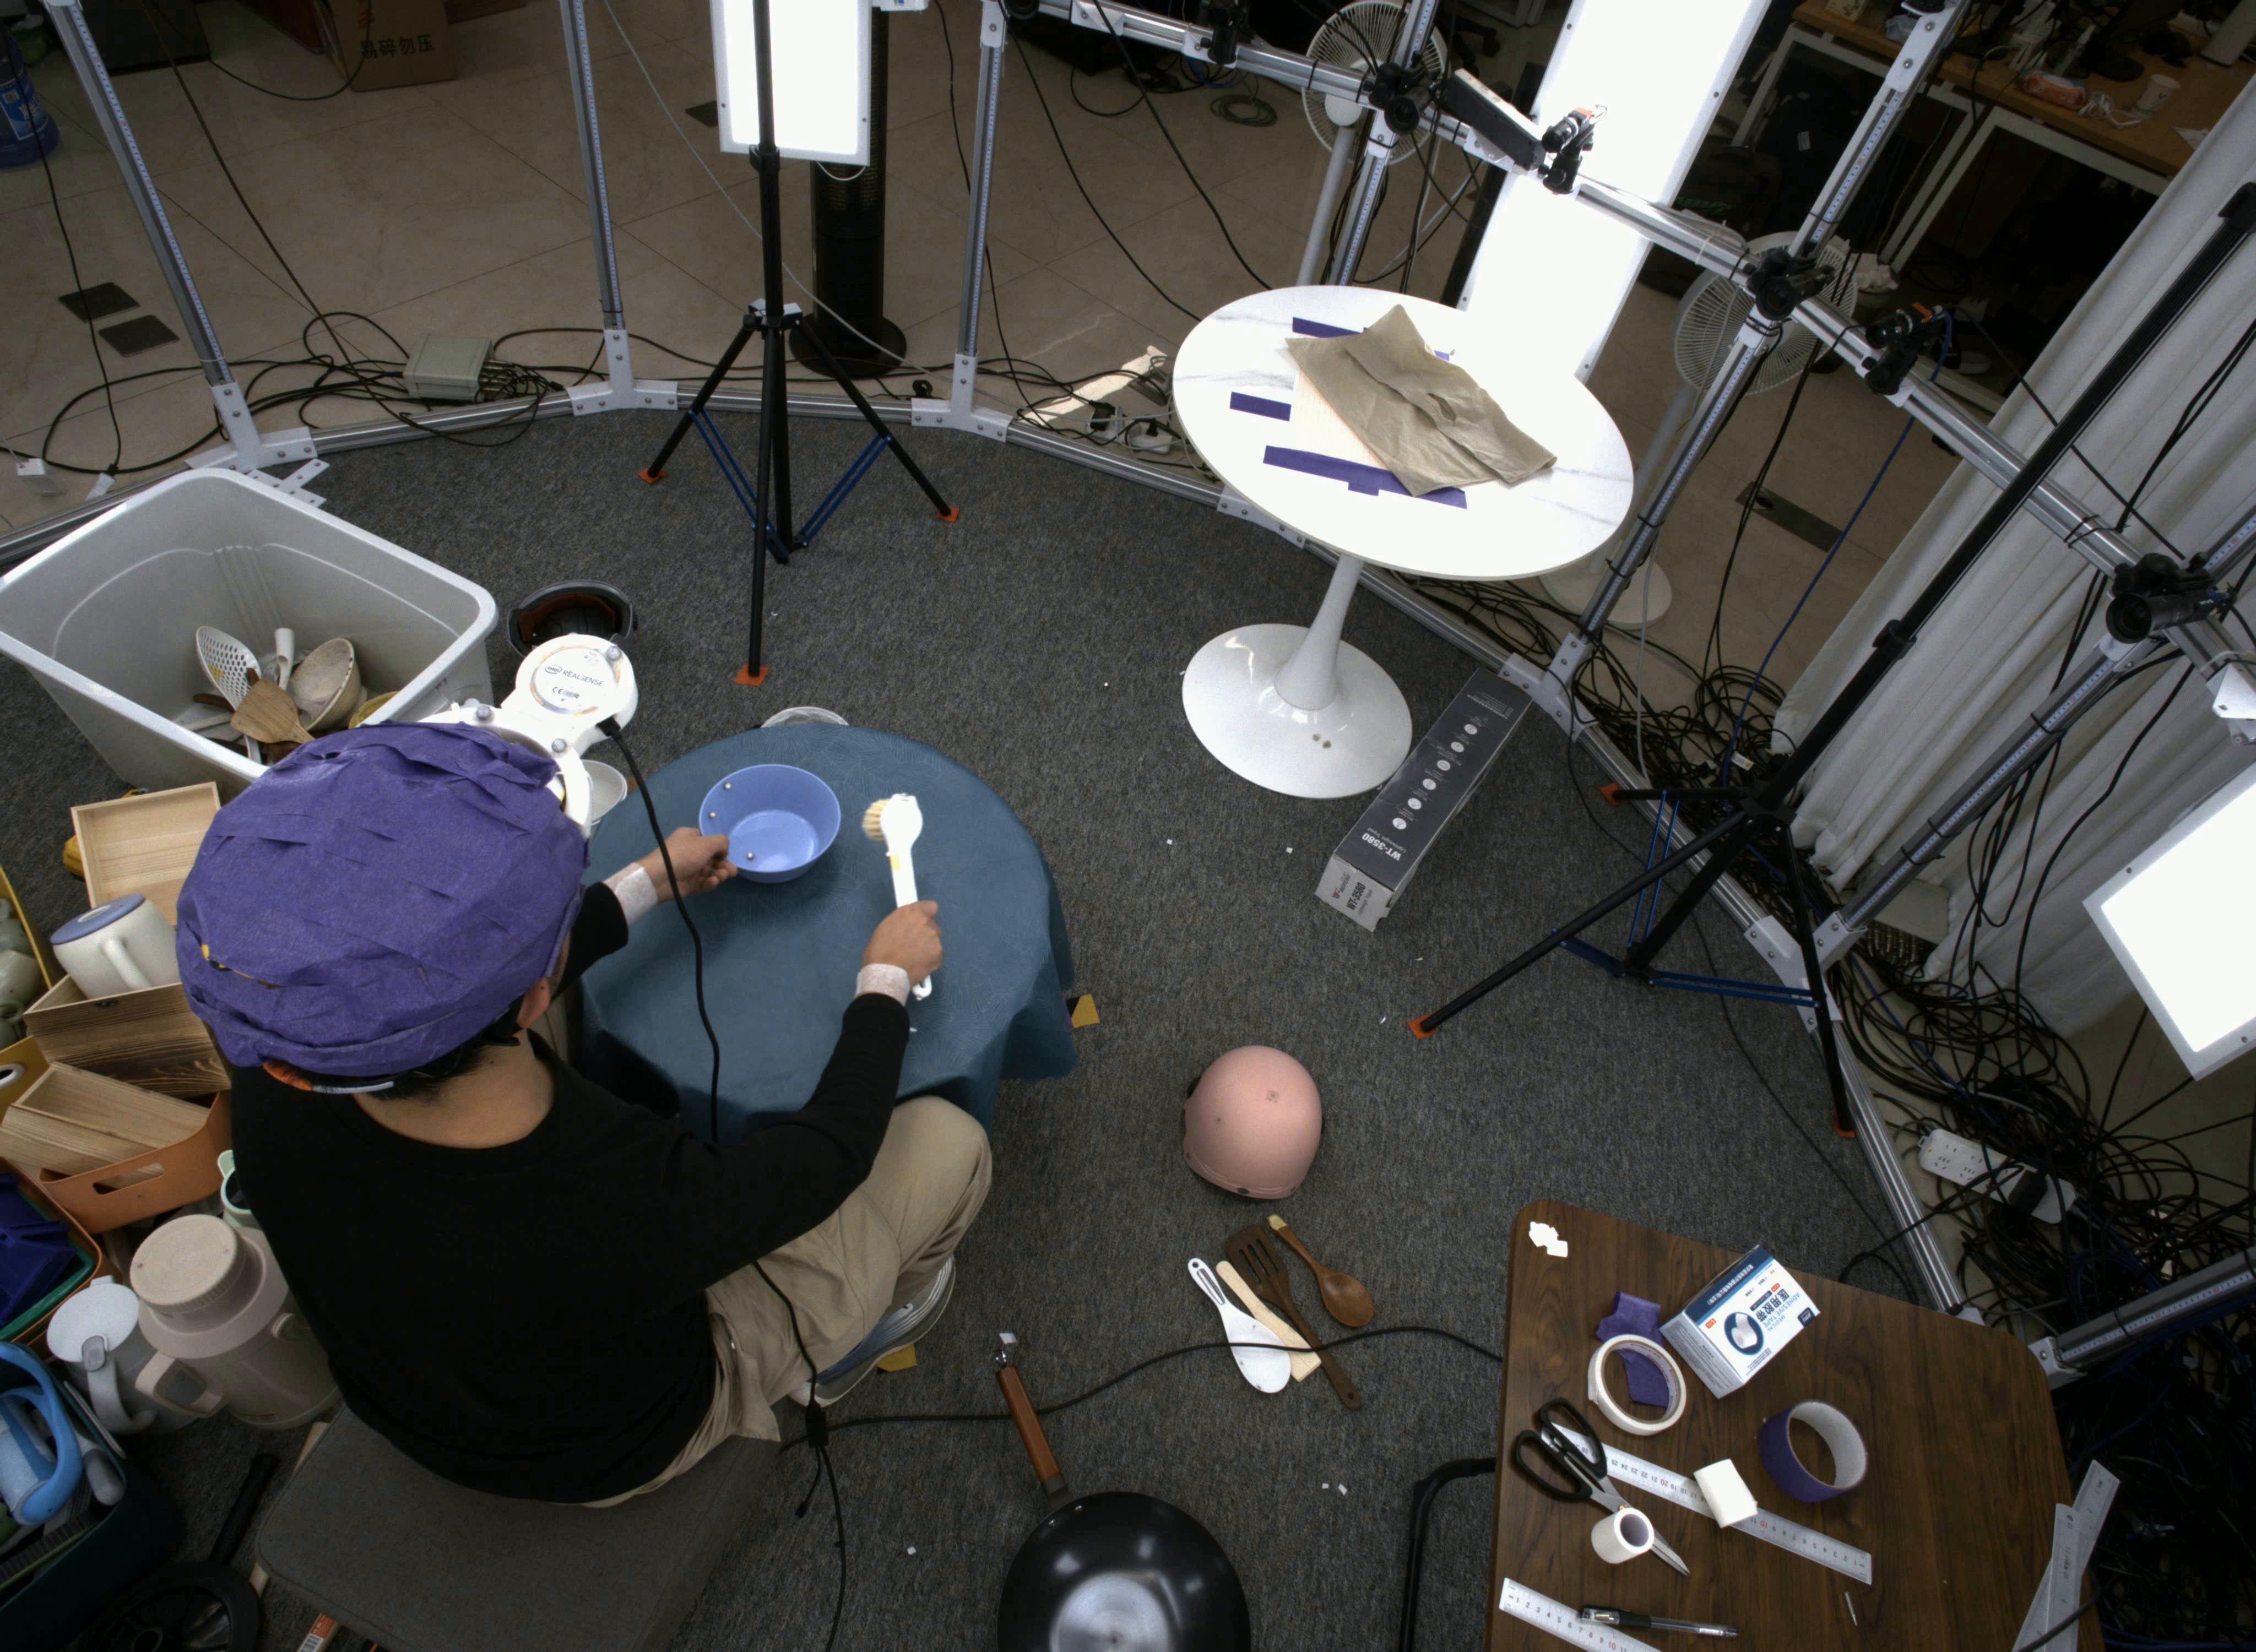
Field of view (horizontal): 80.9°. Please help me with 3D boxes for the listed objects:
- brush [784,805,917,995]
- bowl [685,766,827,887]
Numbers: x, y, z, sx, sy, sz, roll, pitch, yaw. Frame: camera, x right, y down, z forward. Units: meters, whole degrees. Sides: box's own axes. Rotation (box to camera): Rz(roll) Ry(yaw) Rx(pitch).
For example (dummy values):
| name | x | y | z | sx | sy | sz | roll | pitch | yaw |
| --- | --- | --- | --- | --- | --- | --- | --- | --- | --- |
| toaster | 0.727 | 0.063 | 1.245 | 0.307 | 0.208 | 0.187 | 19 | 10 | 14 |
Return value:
| name | x | y | z | sx | sy | sz | roll | pitch | yaw |
| --- | --- | --- | --- | --- | --- | --- | --- | --- | --- |
| brush | -0.335 | 0.094 | 1.576 | 0.069 | 0.056 | 0.265 | -25 | 80 | -37 |
| bowl | -0.471 | 0.010 | 1.651 | 0.175 | 0.072 | 0.173 | 7 | 51 | -7 |
